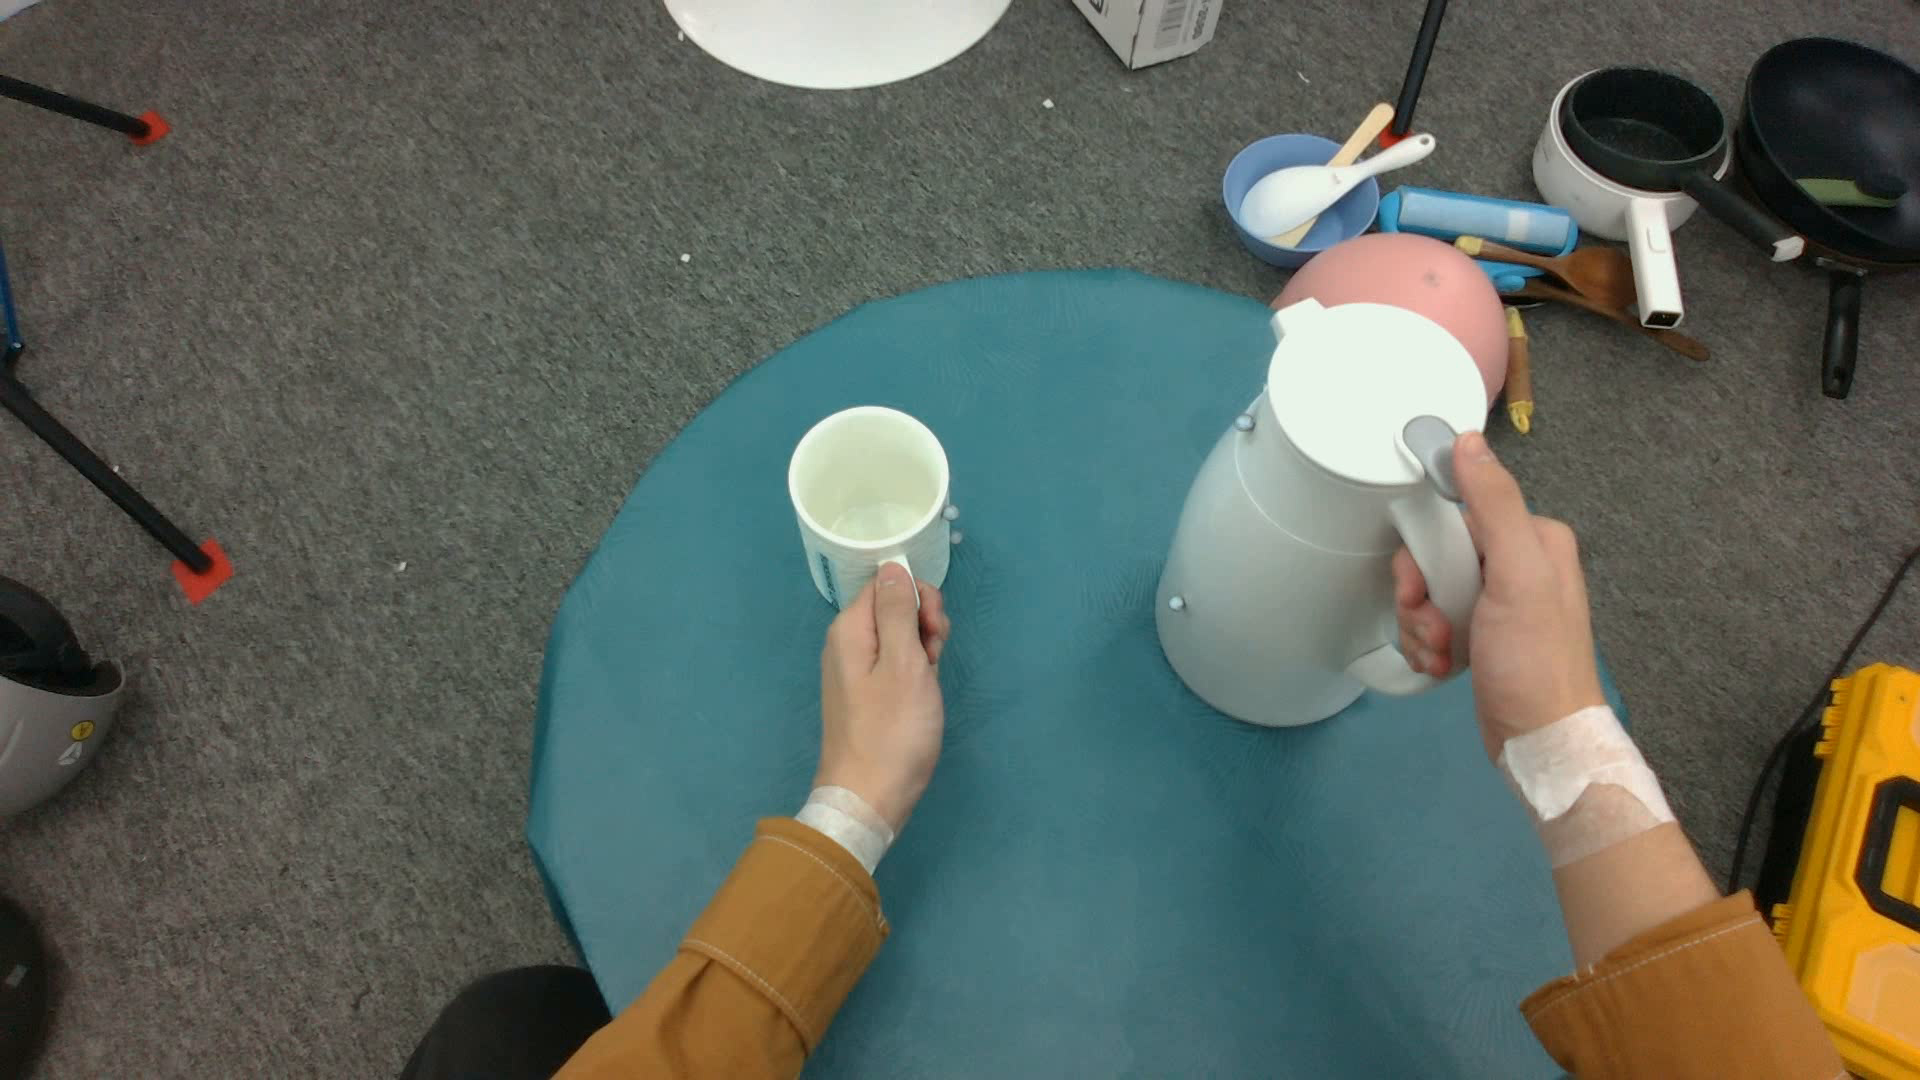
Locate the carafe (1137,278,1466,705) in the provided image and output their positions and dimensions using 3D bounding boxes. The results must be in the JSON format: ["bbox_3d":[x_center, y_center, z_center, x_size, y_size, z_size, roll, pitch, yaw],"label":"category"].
[{"bbox_3d":[0.179,-0.007,0.686,0.133,0.247,0.168,-25,66,-13],"label":"carafe"}]

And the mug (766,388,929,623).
[{"bbox_3d":[-0.055,-0.008,0.763,0.085,0.101,0.118,-17,64,-9],"label":"mug"}]
